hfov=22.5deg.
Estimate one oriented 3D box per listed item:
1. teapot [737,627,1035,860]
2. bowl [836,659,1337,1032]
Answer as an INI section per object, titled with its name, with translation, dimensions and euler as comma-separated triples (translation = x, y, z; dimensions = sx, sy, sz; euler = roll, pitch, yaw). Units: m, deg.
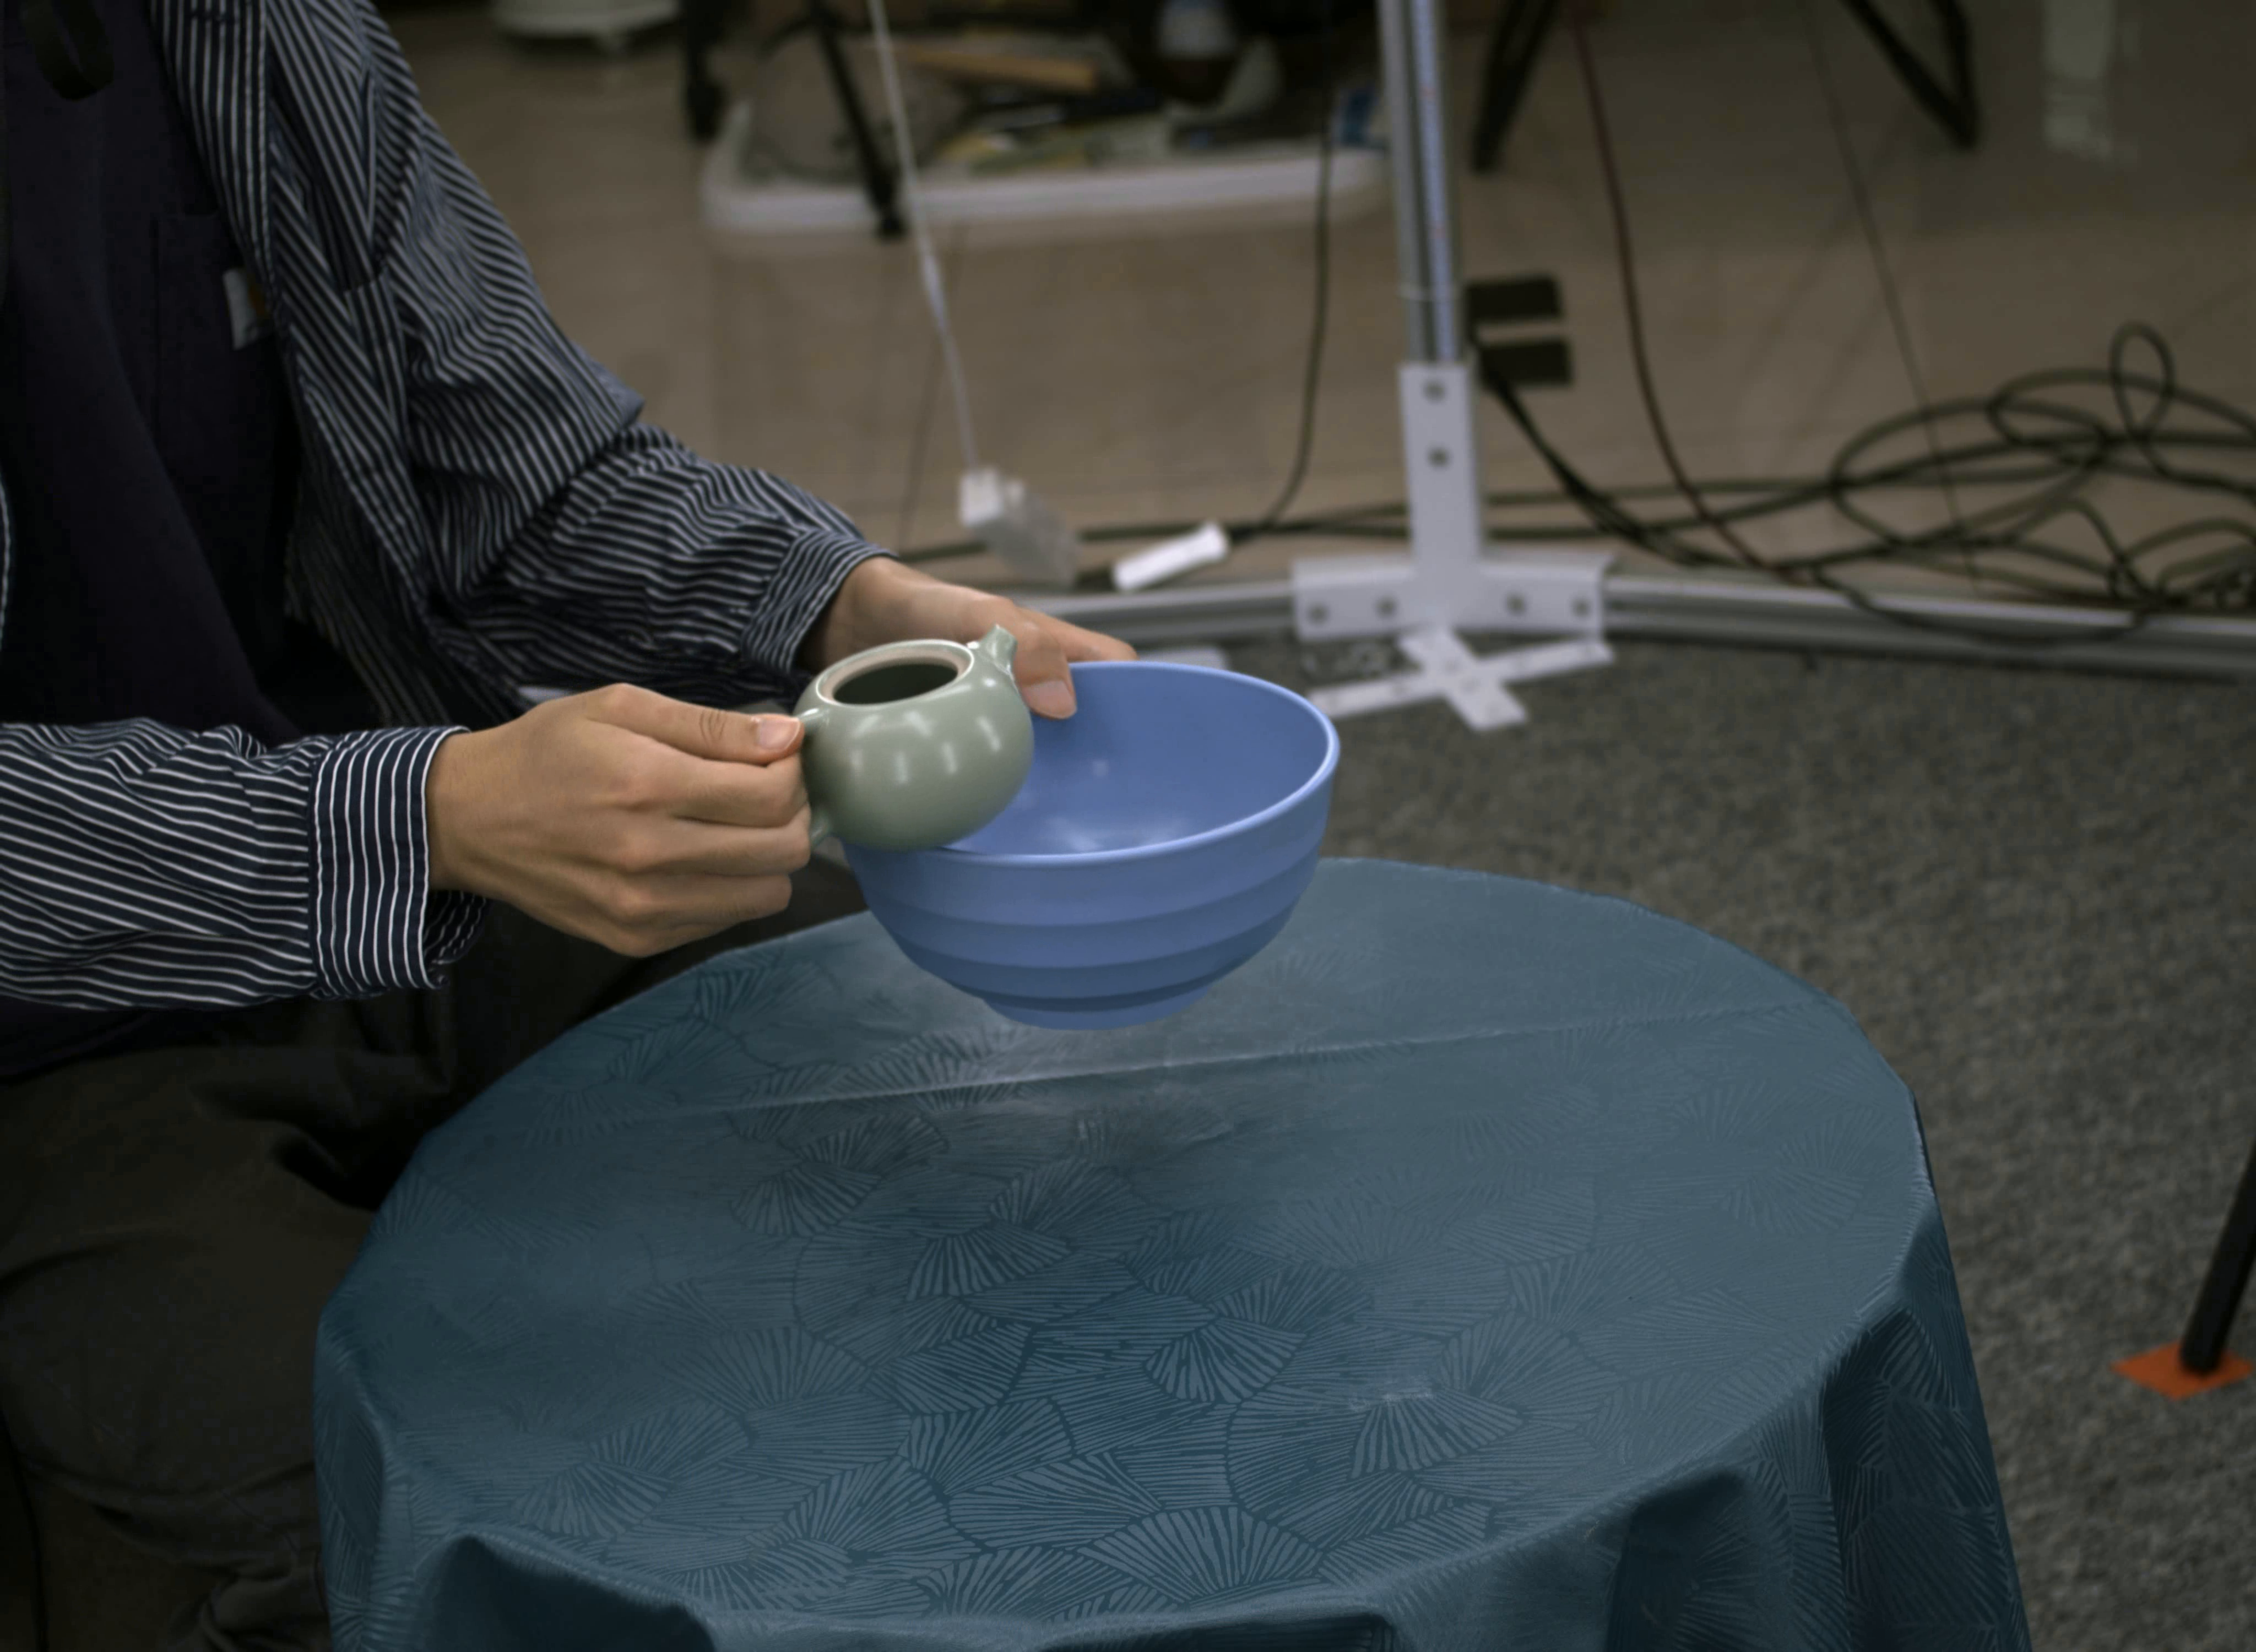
[teapot]
translation = -0.087, -0.025, 2.061
dimensions = 0.127, 0.062, 0.090
euler = -24, 30, -27
[bowl]
translation = -0.016, 0.016, 2.154
dimensions = 0.196, 0.097, 0.193
euler = -4, 24, 2
